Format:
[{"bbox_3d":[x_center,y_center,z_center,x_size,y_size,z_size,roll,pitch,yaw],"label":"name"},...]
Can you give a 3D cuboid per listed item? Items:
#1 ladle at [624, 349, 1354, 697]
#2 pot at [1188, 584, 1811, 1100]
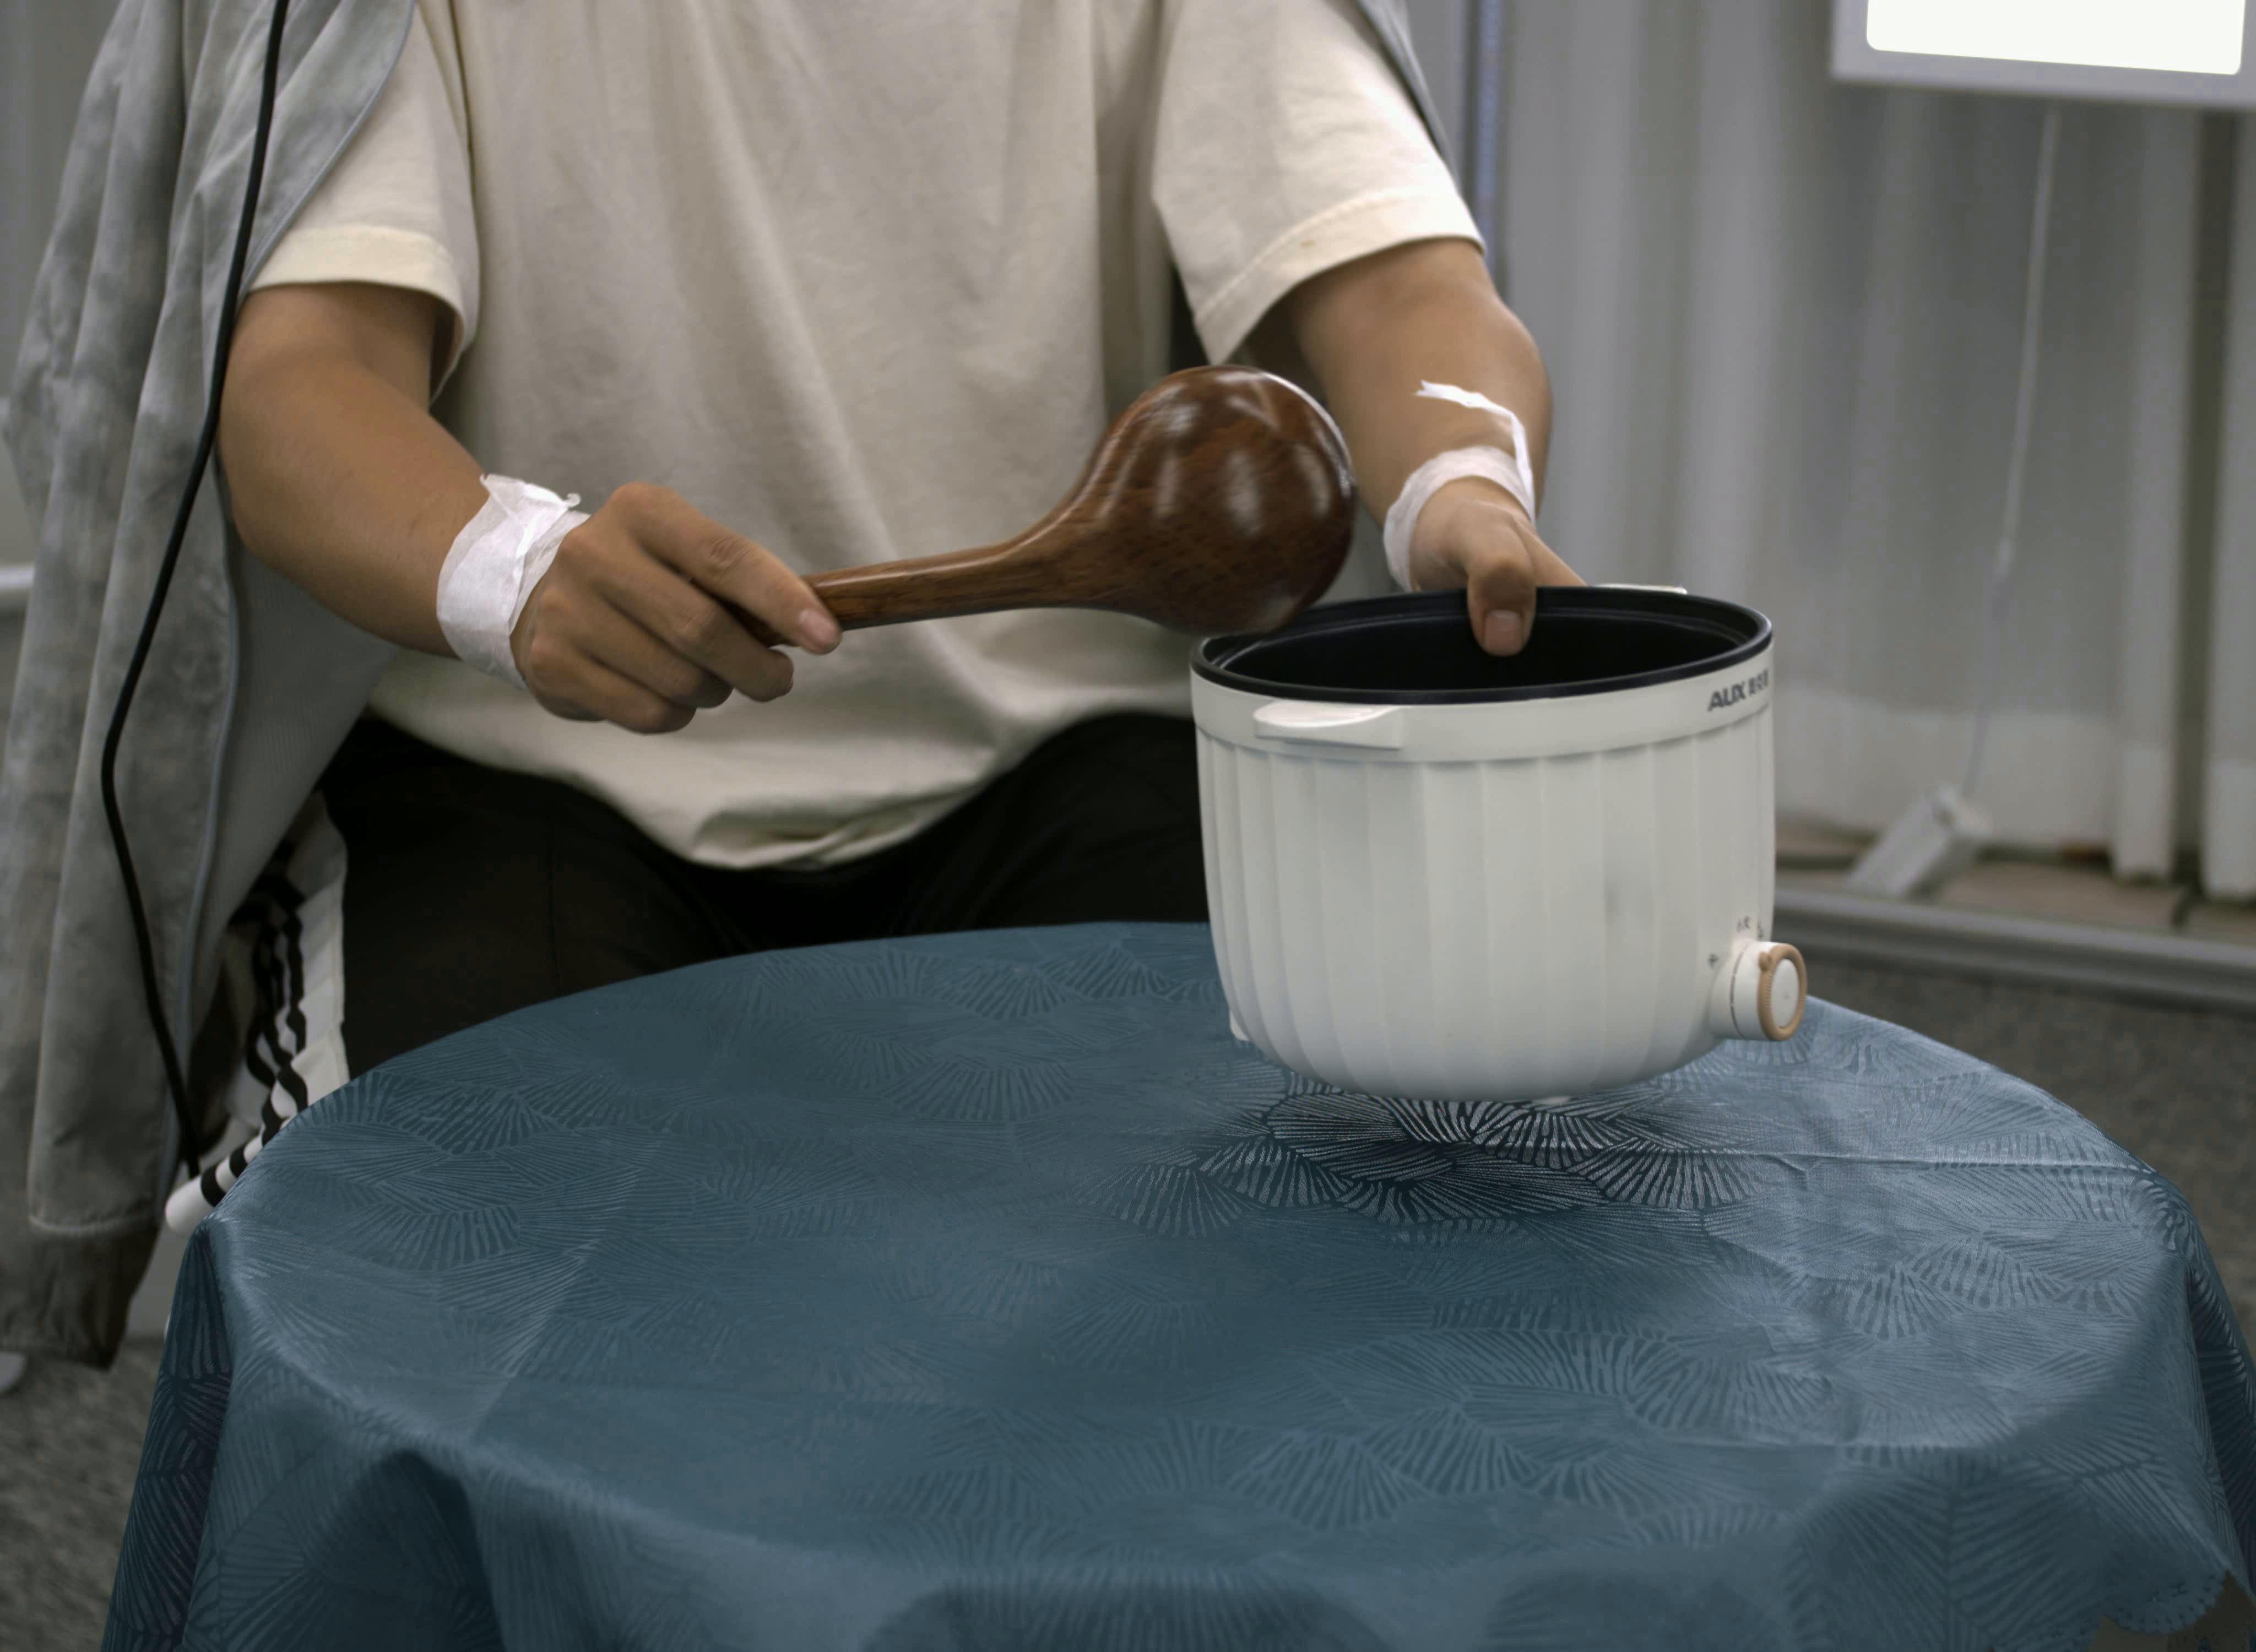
[{"bbox_3d":[-0.045,-0.084,1.602,0.271,0.082,0.077,-10,15,47],"label":"ladle"},{"bbox_3d":[0.118,0.006,1.647,0.188,0.143,0.241,0,13,31],"label":"pot"}]
